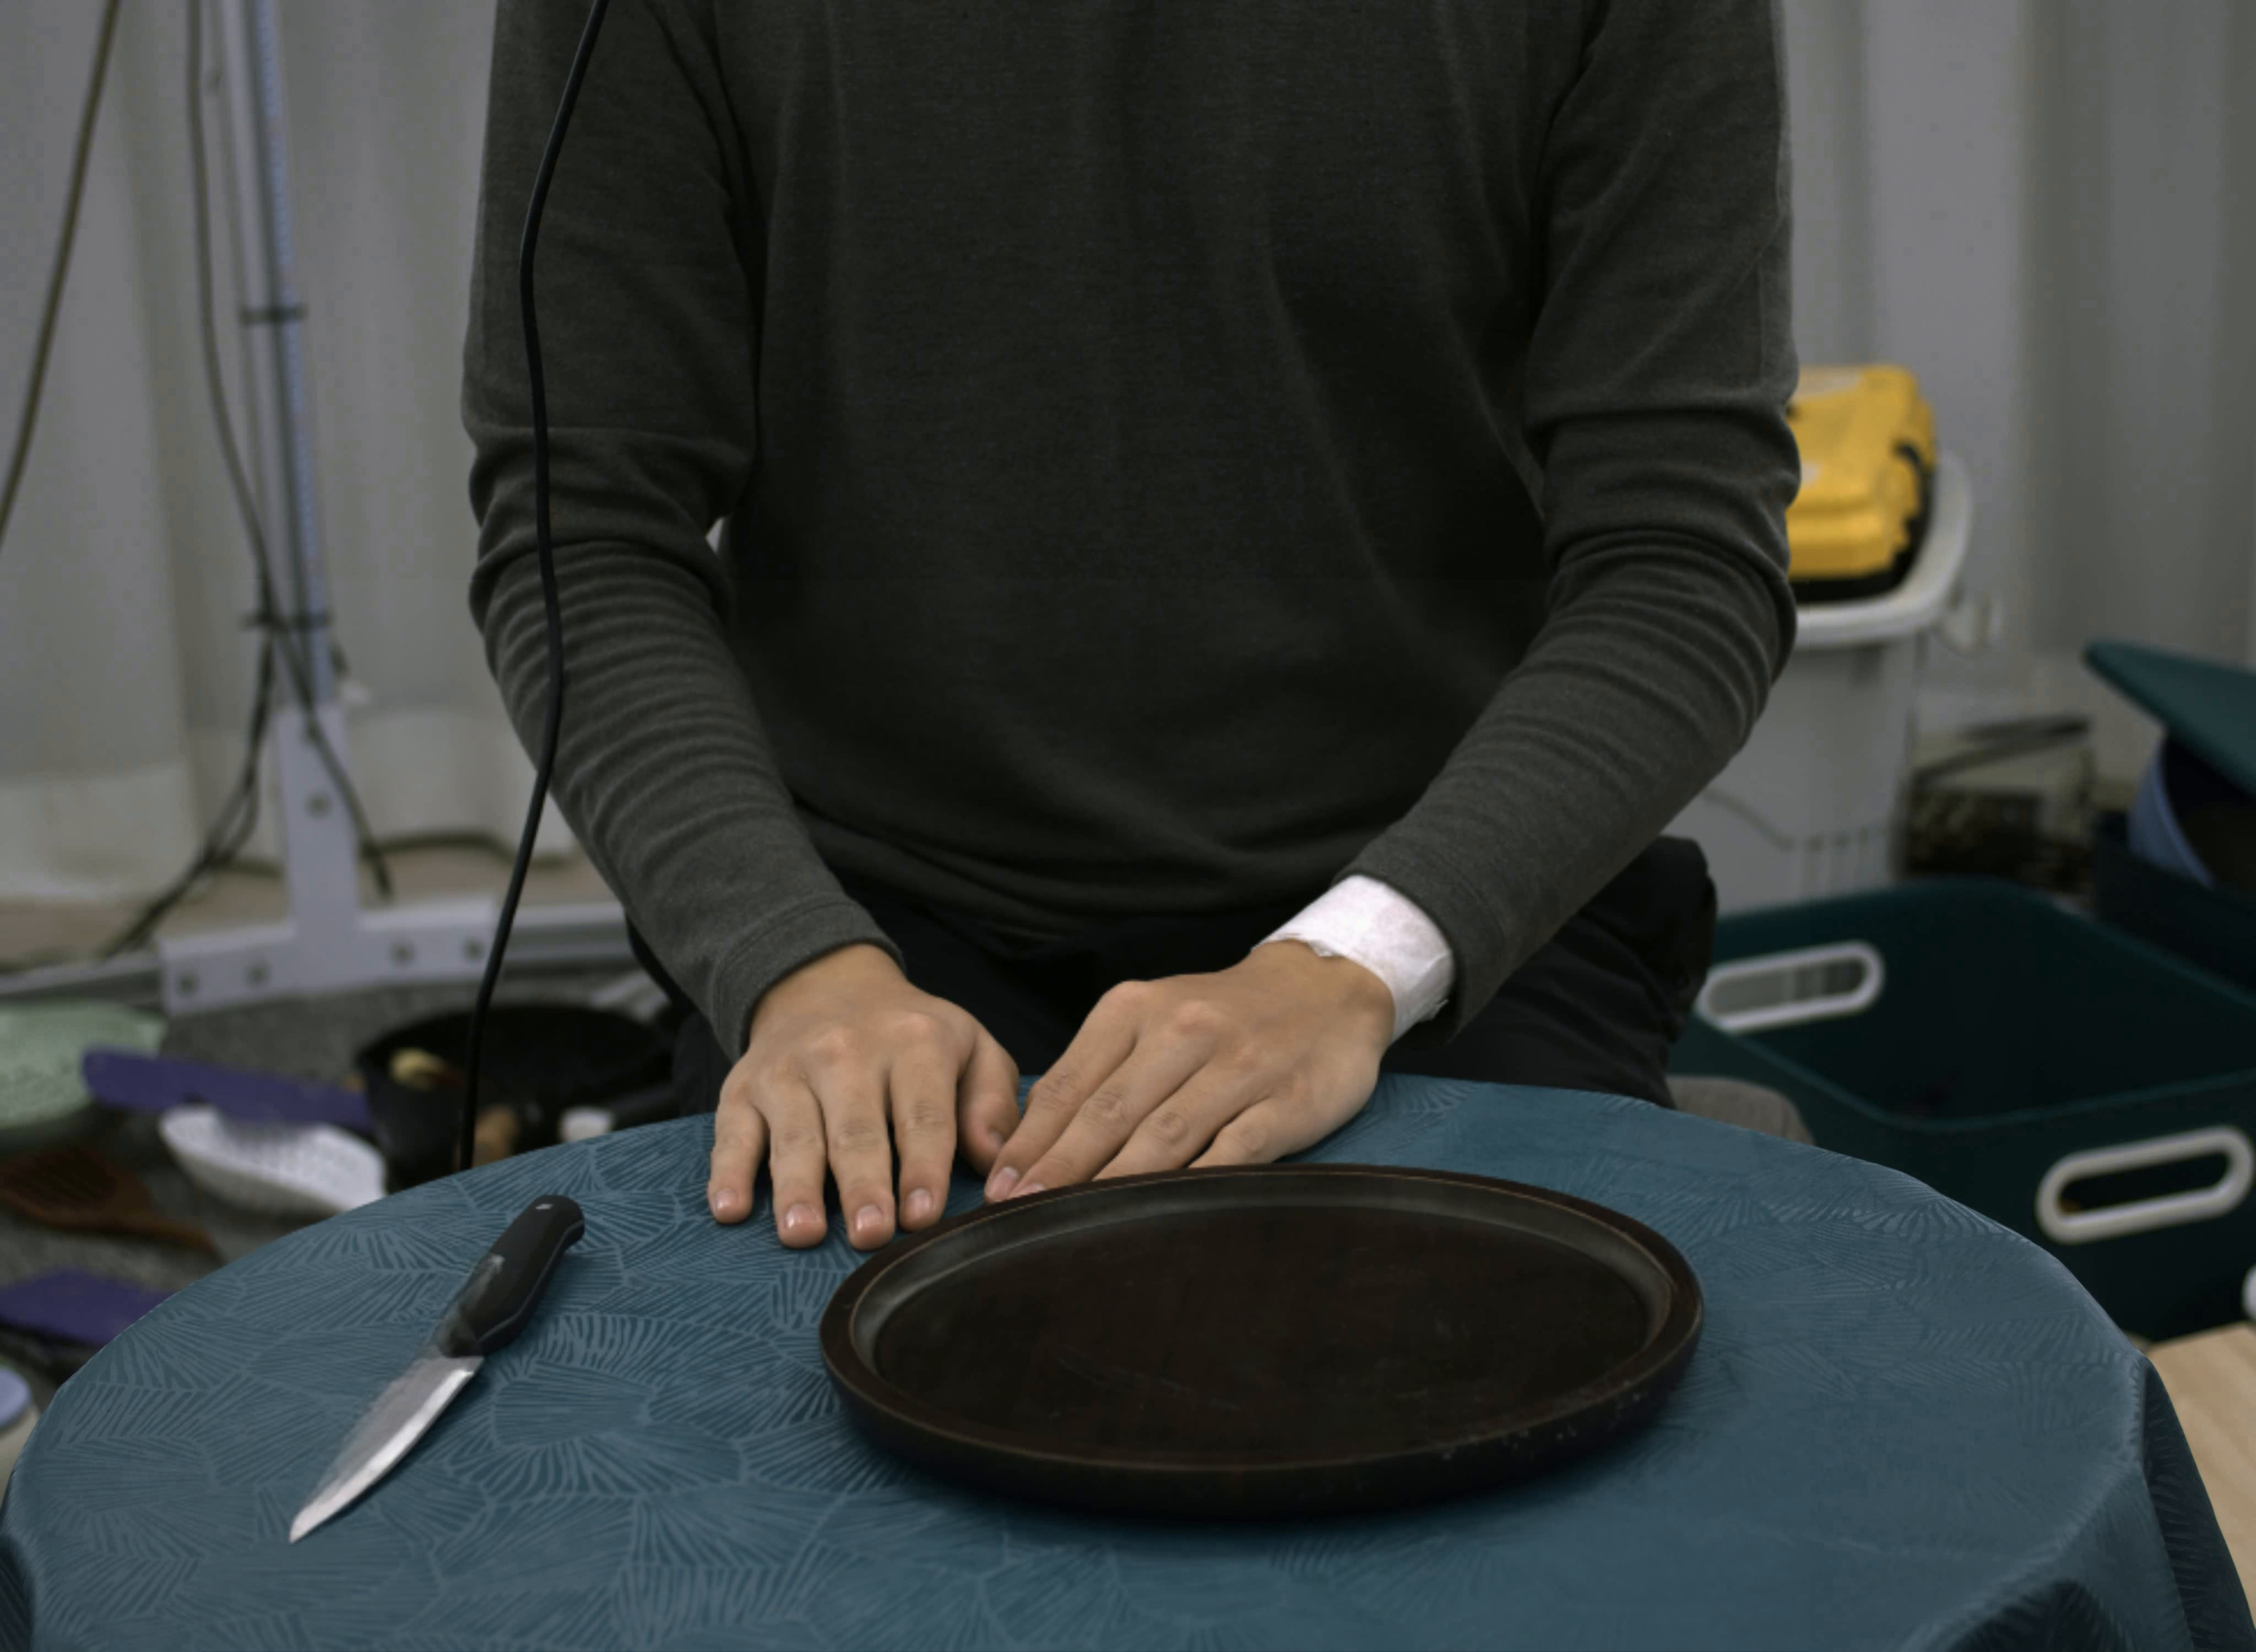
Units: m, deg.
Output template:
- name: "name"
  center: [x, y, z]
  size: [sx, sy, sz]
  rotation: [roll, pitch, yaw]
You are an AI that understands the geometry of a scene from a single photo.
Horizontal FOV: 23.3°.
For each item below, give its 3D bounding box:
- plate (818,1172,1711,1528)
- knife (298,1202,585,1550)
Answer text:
- name: "plate"
  center: [0.038, 0.145, 1.551]
  size: [0.254, 0.029, 0.256]
  rotation: [-2, 16, 0]
- name: "knife"
  center: [-0.199, 0.157, 1.574]
  size: [0.024, 0.016, 0.239]
  rotation: [4, 18, 11]
